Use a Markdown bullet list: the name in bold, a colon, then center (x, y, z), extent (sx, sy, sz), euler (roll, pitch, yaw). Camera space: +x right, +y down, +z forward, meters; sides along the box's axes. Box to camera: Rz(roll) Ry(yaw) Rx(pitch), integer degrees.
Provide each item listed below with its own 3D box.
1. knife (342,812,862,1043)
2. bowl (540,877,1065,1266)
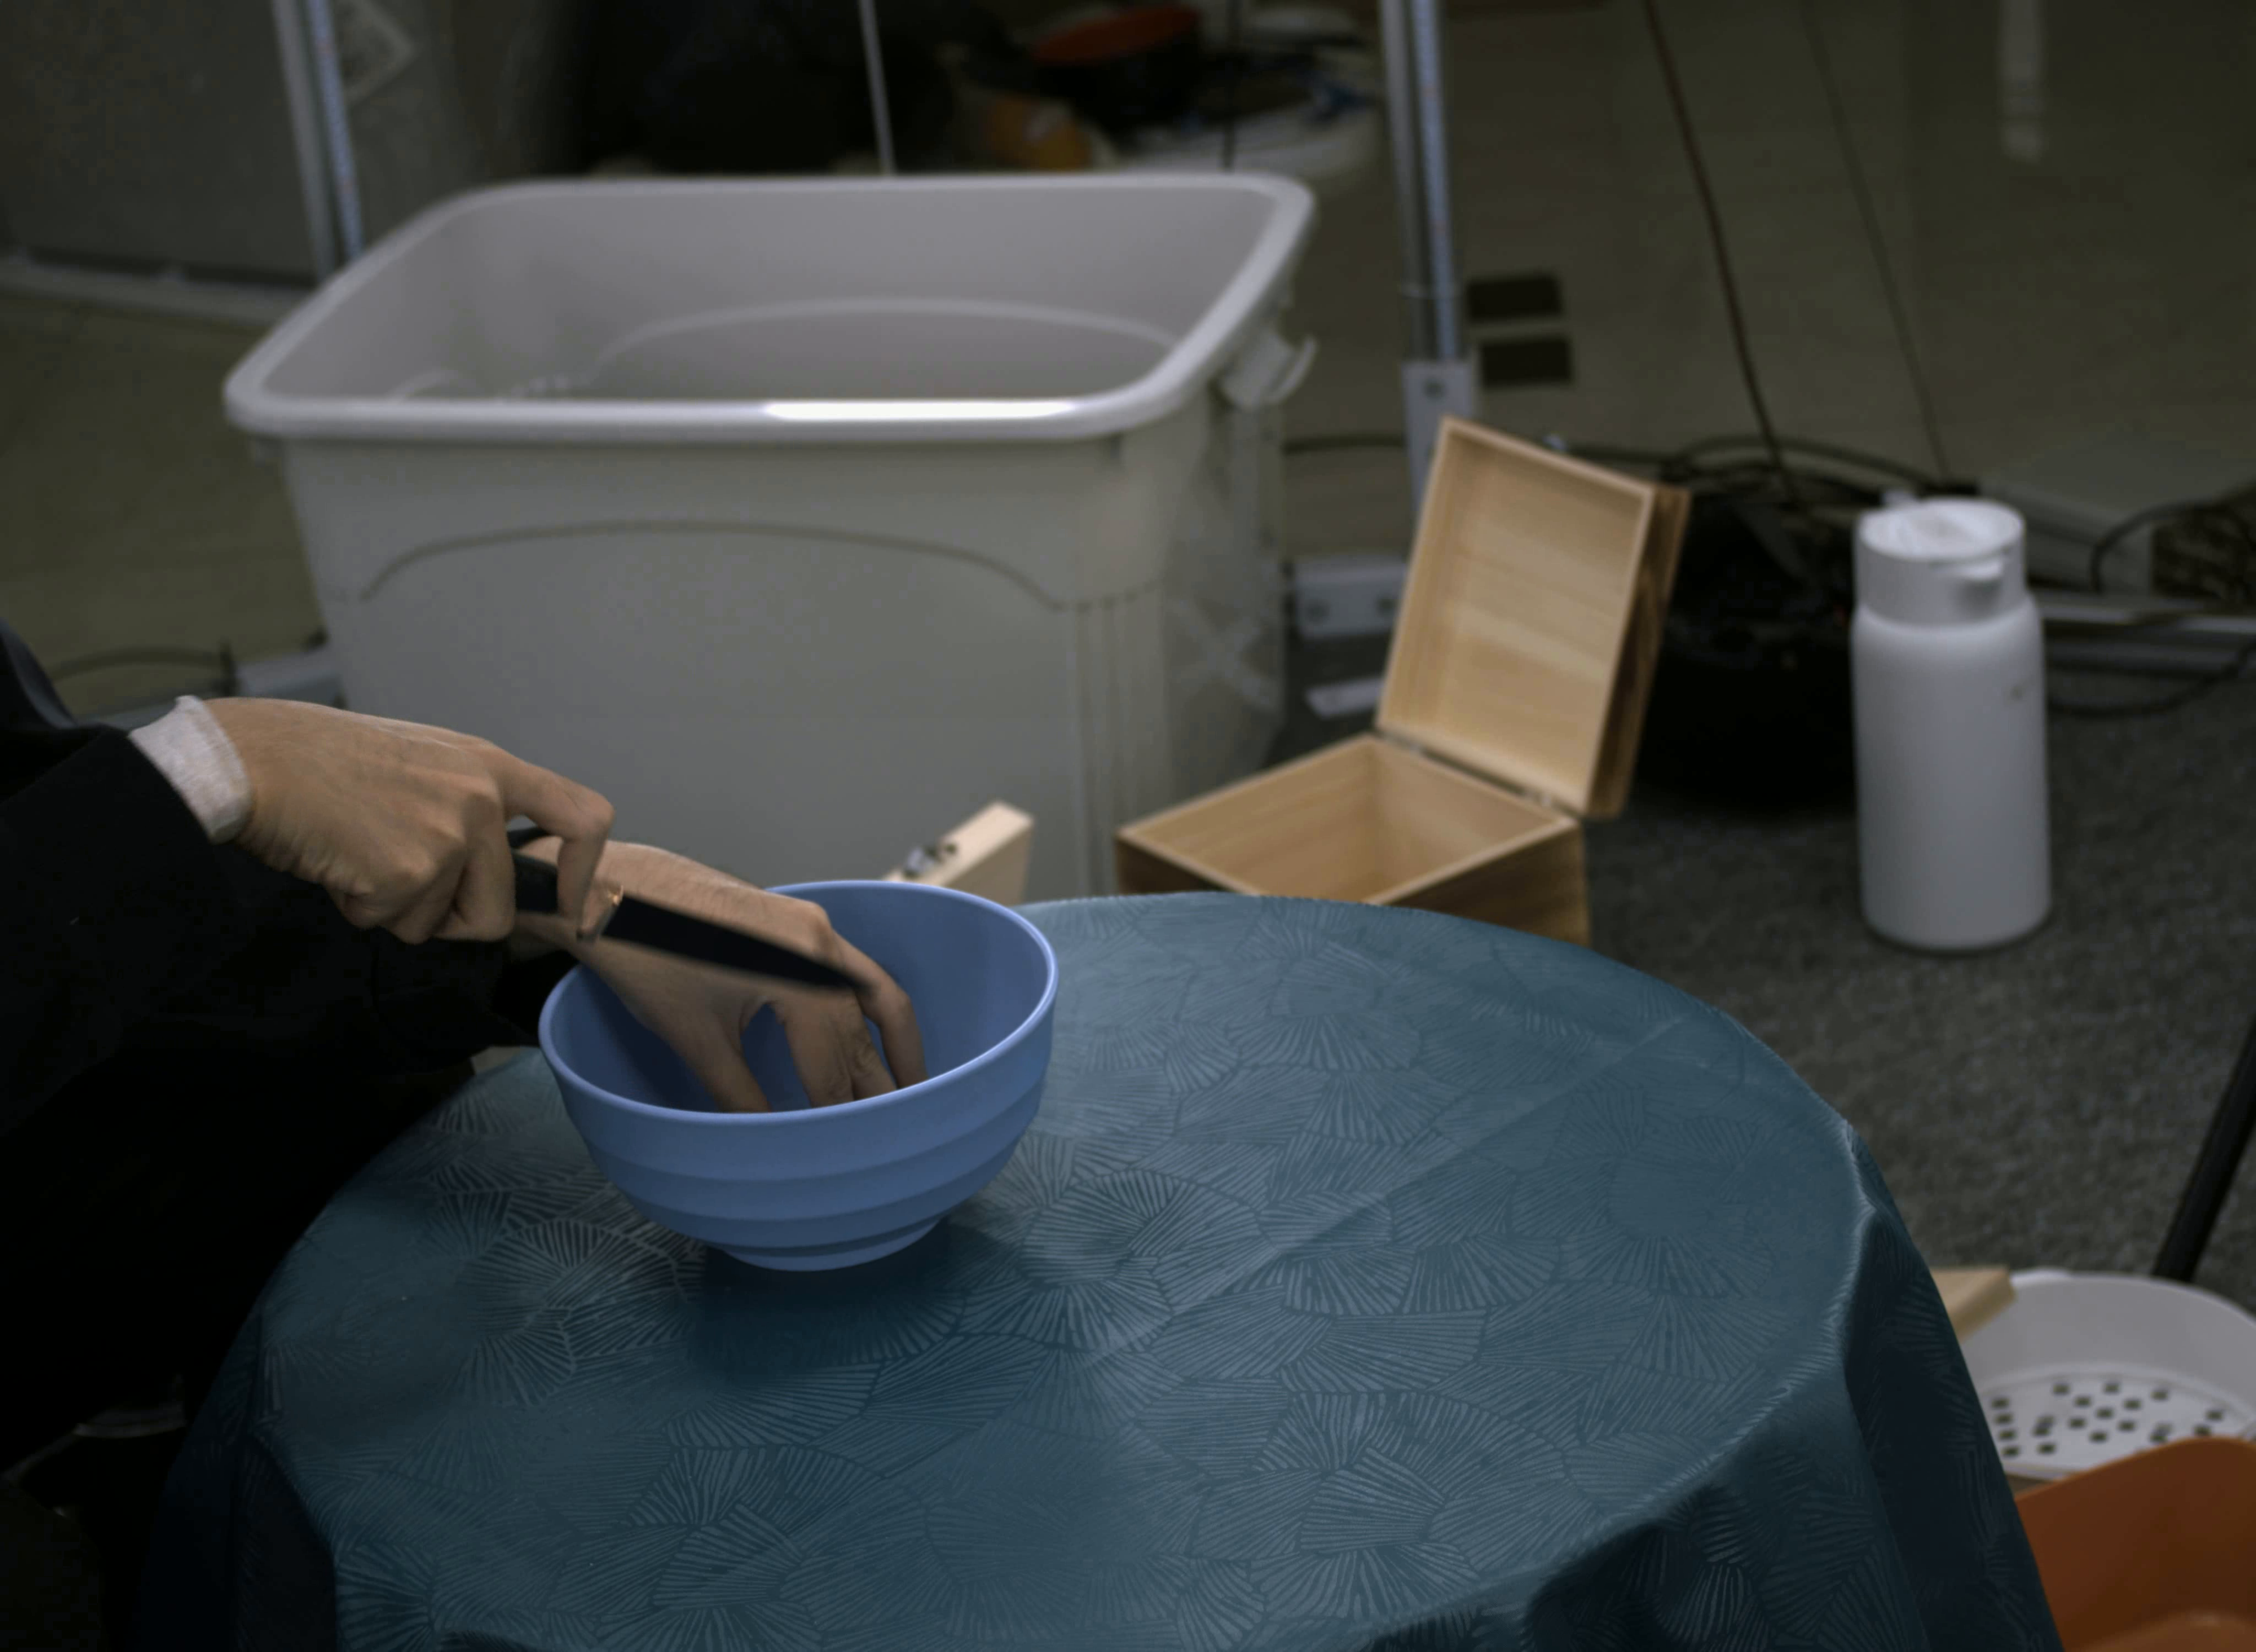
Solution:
- **knife**: center (-0.186, 0.038, 2.046), extent (0.227, 0.026, 0.017), euler (22, 23, -30)
- **bowl**: center (-0.119, 0.103, 2.134), extent (0.196, 0.097, 0.193), euler (-3, 25, 1)
